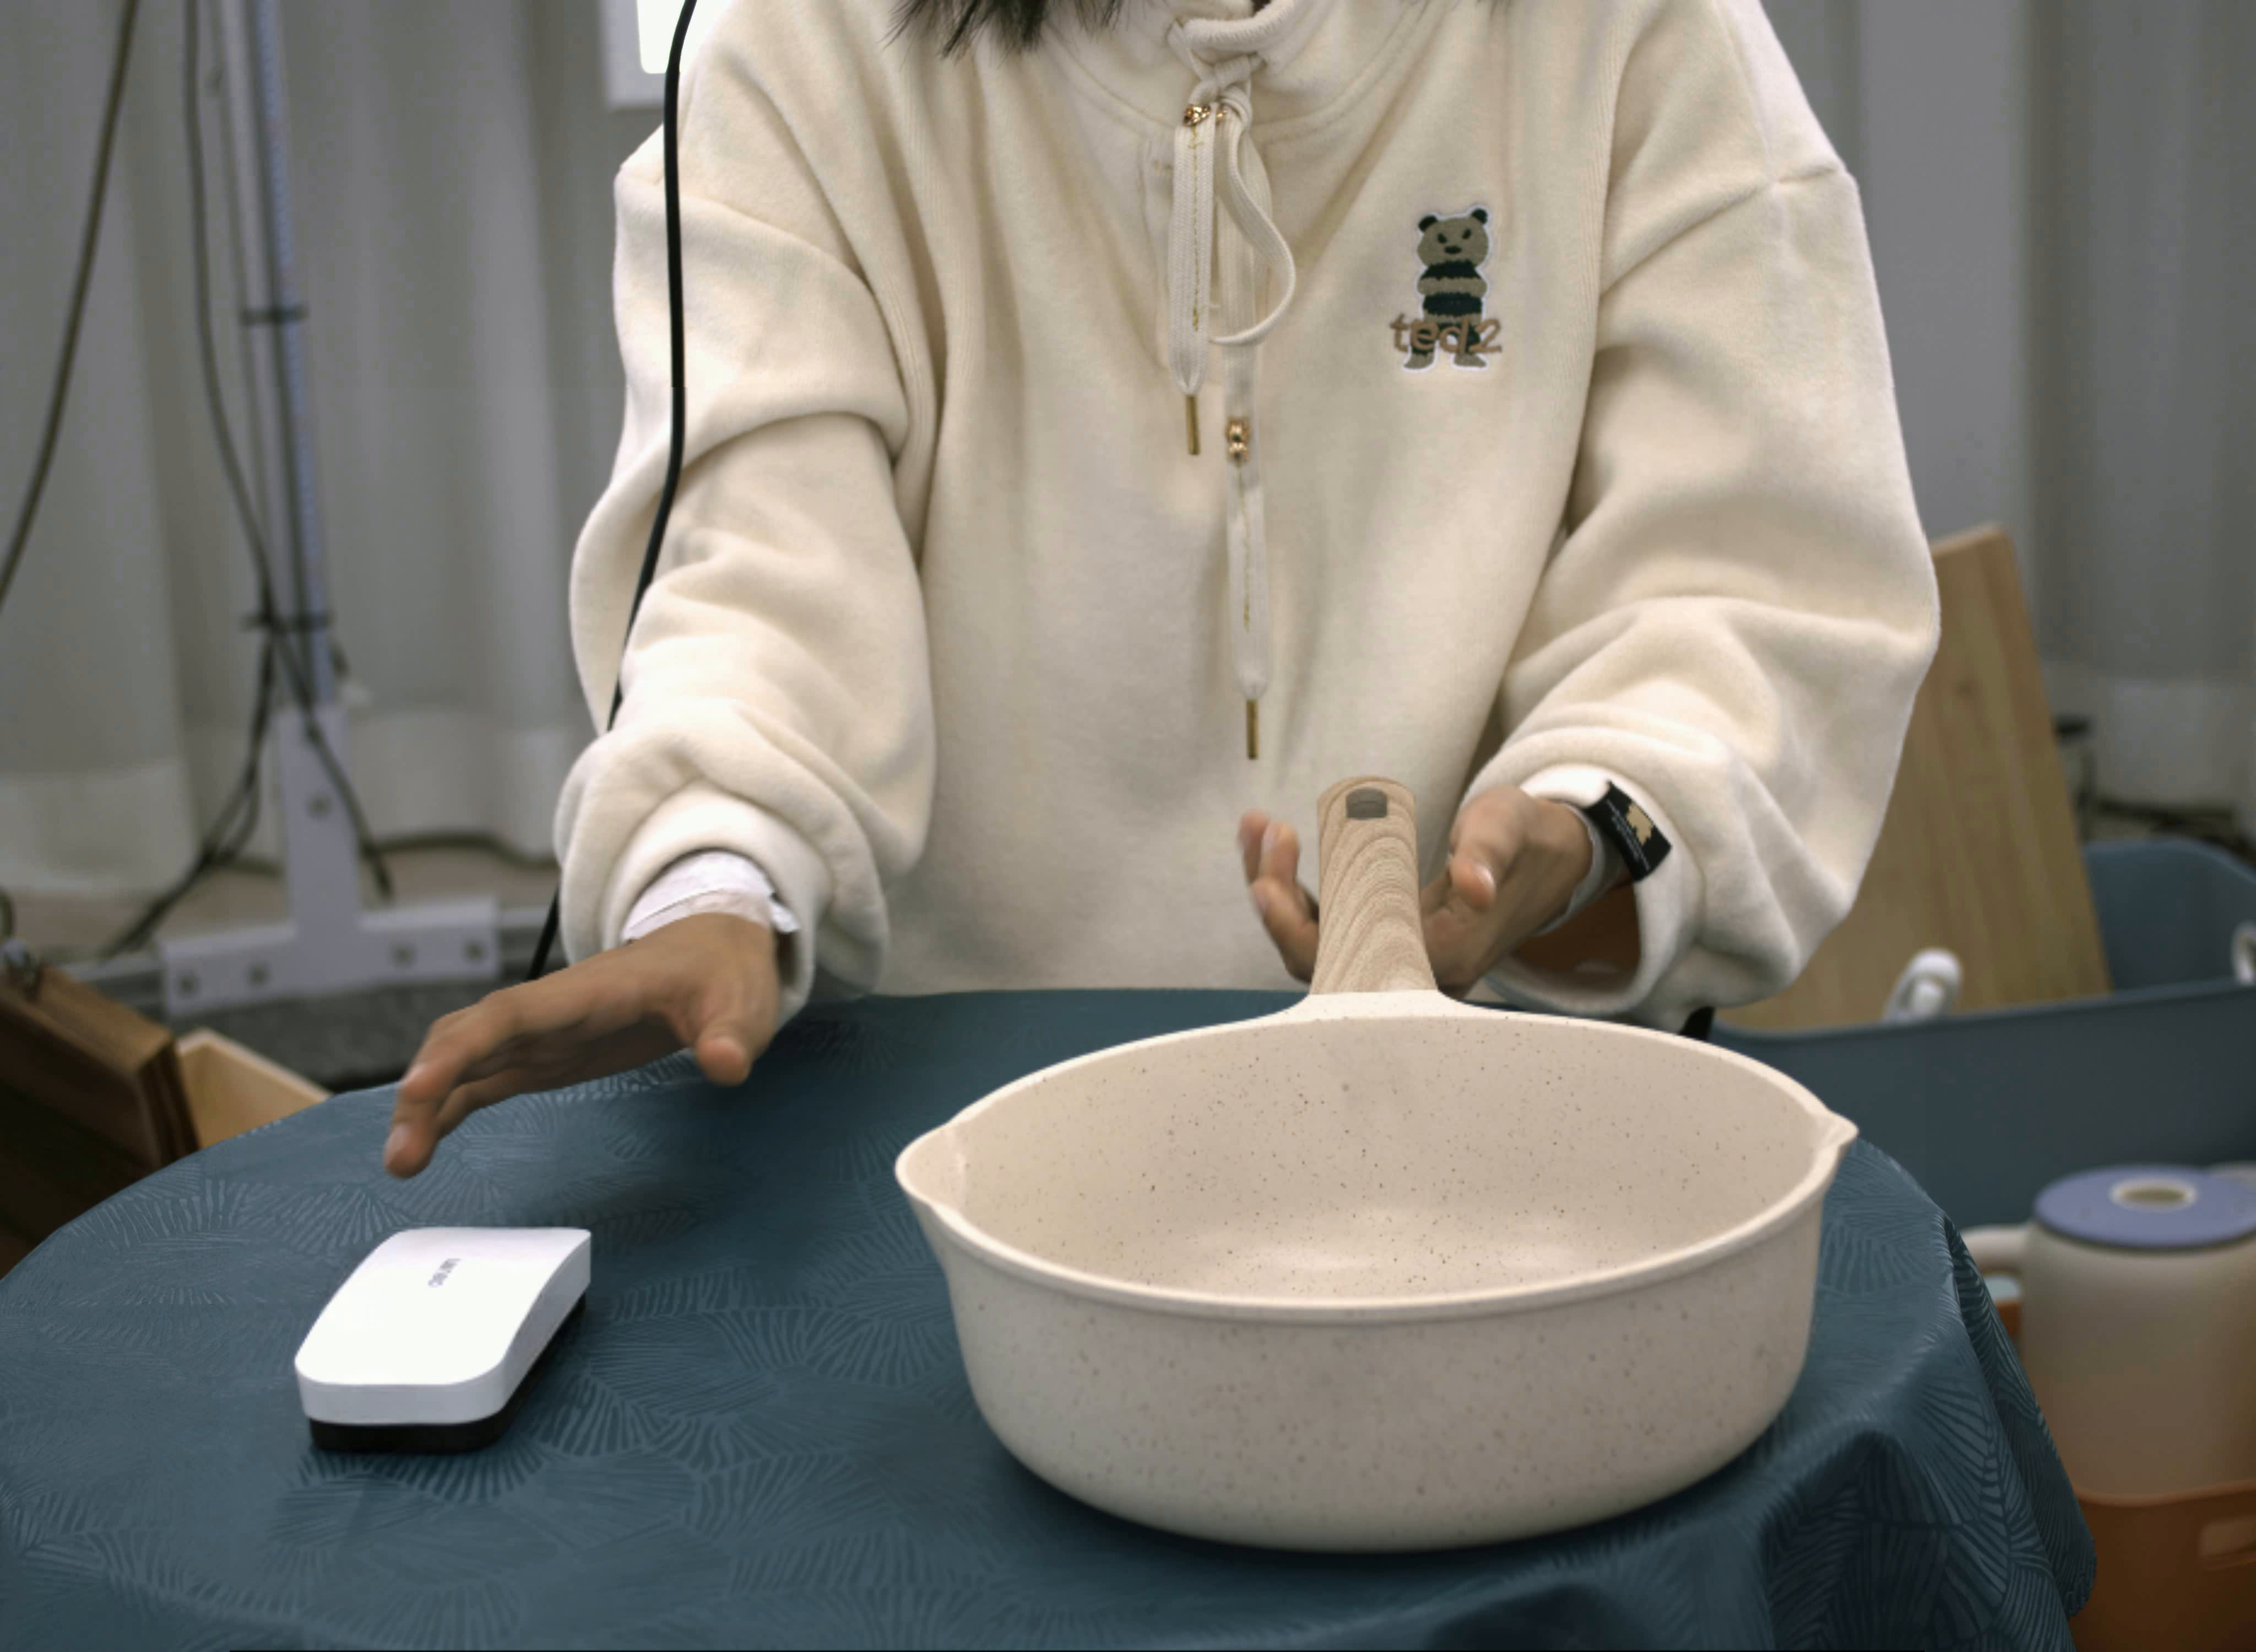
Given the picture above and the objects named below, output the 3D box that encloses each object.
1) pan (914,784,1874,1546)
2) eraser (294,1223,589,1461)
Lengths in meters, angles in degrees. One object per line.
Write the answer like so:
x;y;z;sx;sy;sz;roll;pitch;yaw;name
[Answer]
0.076;0.092;1.586;0.262;0.101;0.438;-4;15;2;pan
-0.195;0.145;1.580;0.063;0.034;0.132;2;16;8;eraser
